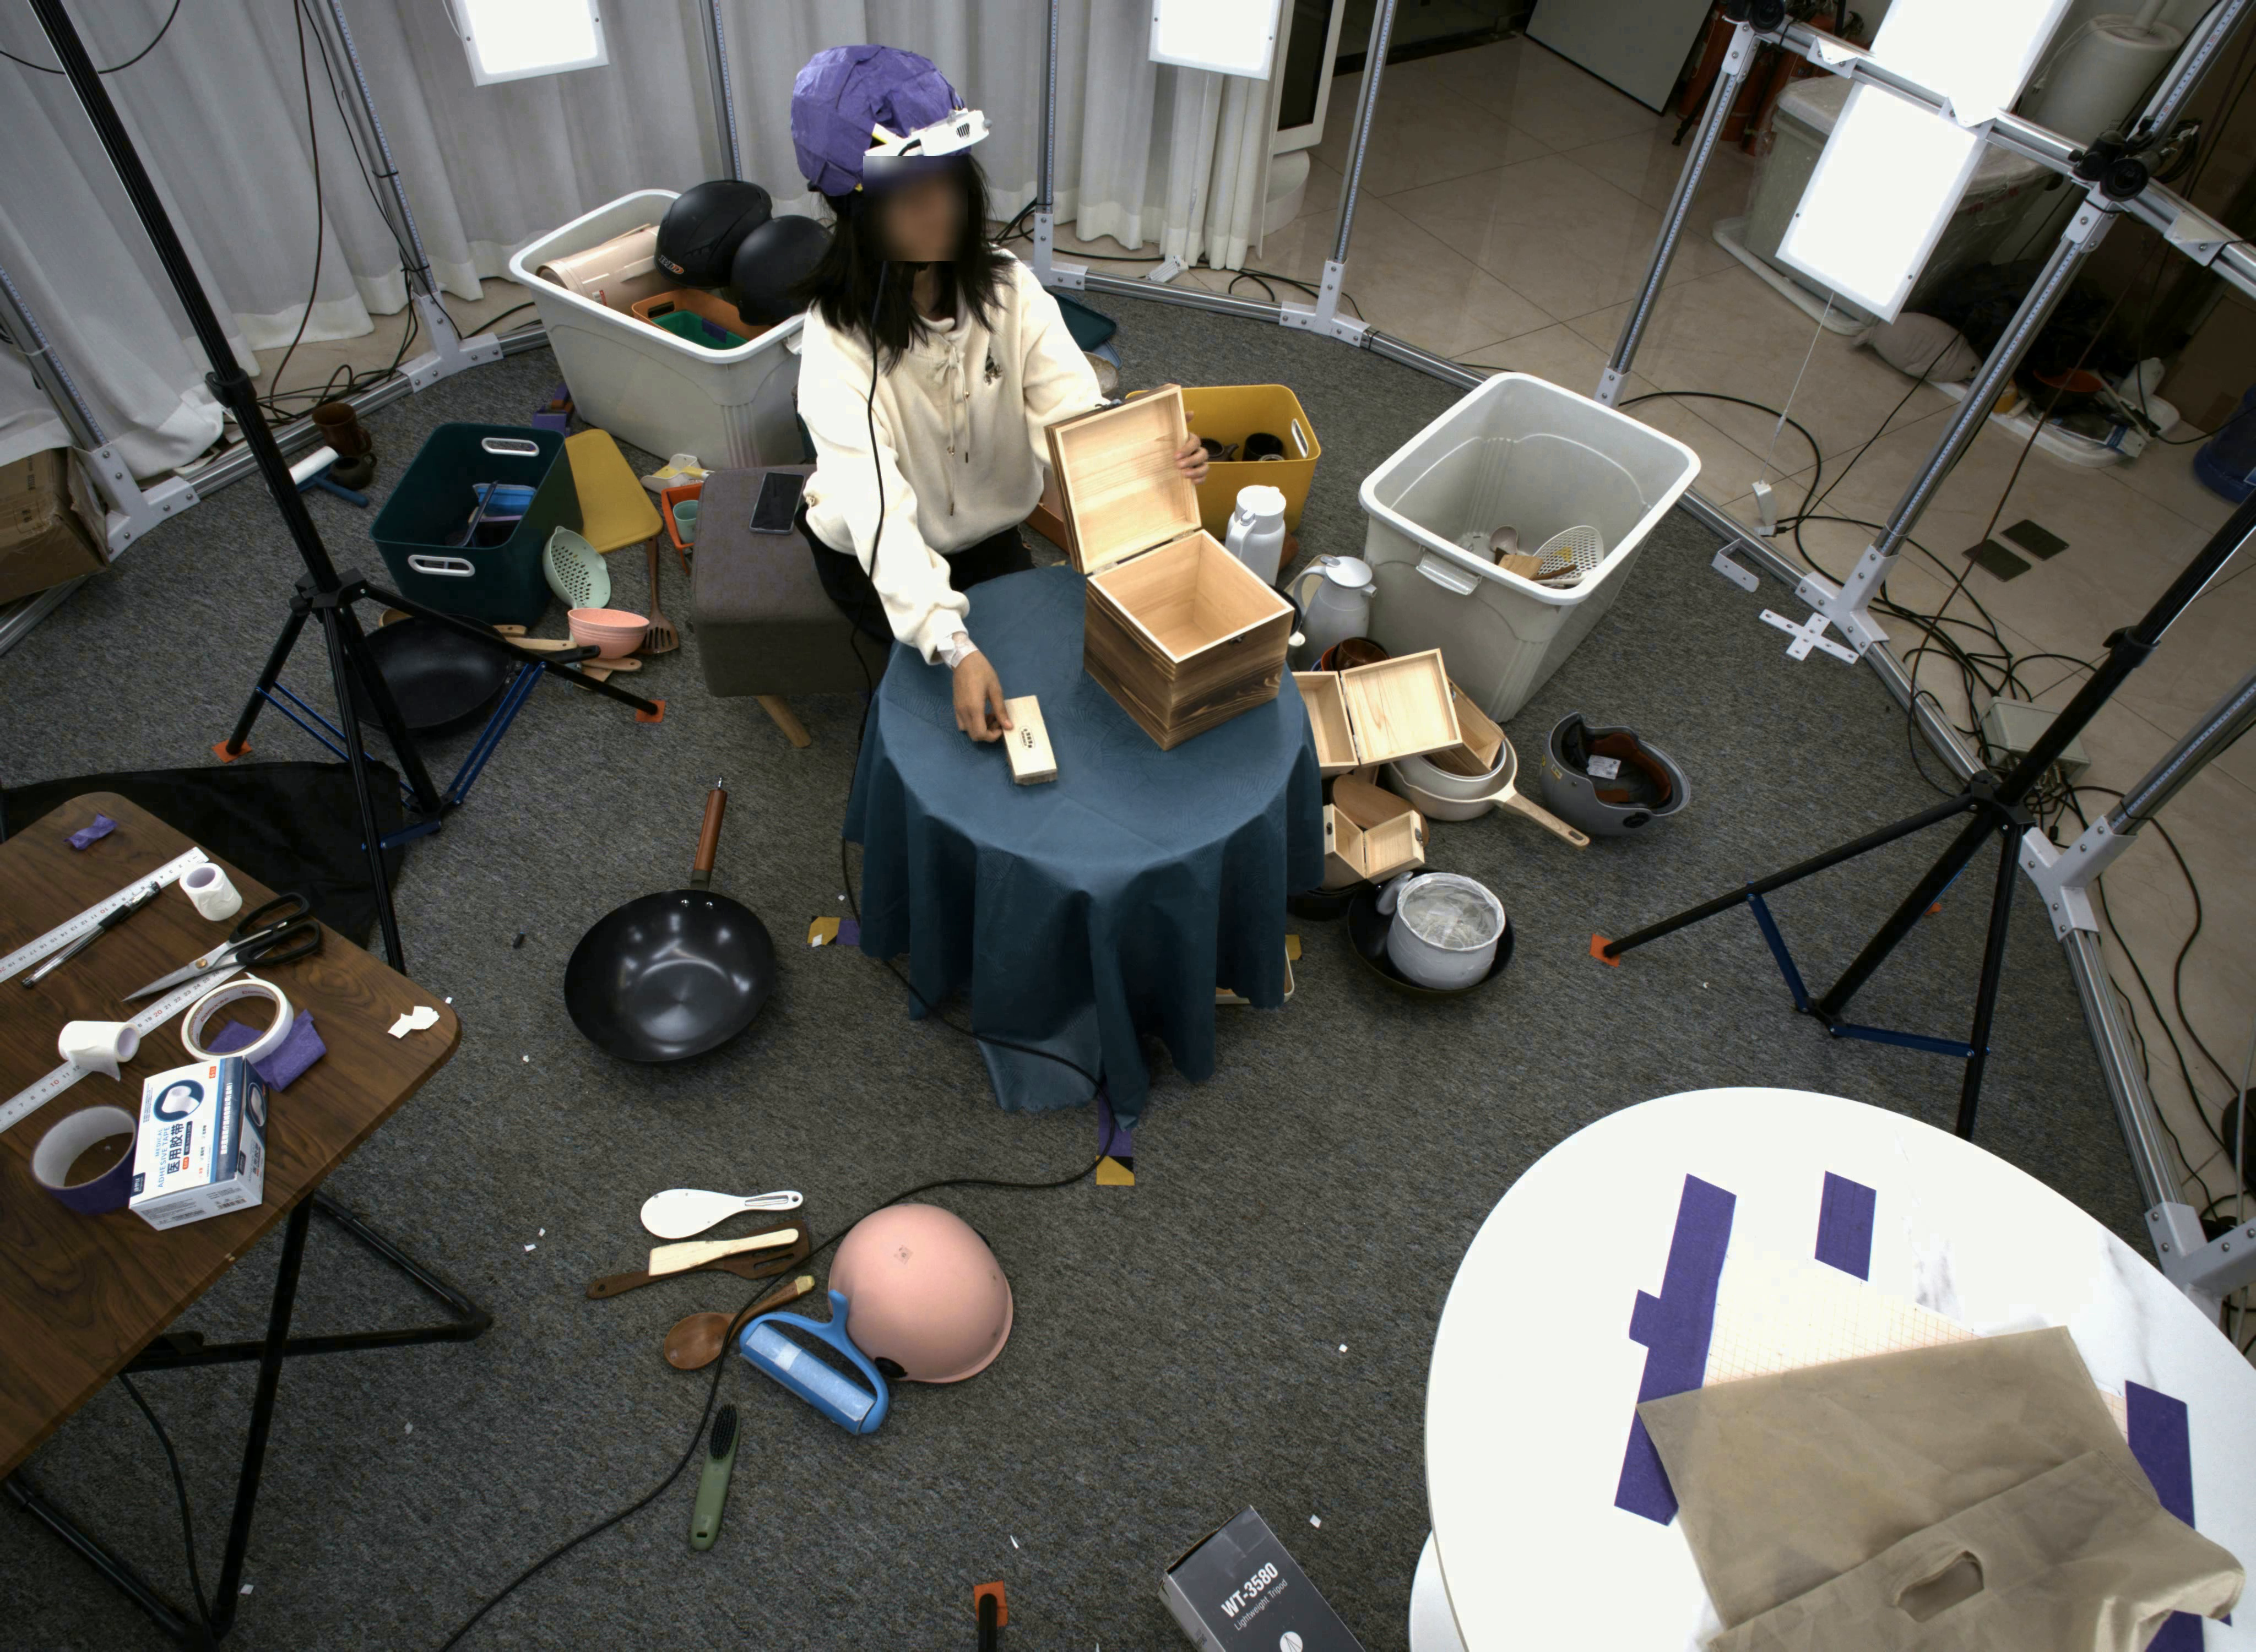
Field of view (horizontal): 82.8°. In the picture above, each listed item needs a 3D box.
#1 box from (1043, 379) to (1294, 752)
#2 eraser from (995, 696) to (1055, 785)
[{"bbox_3d":[0.052,-0.354,1.747,0.210,0.366,0.328,-28,57,-24],"label":"box"},{"bbox_3d":[-0.140,-0.116,1.743,0.057,0.028,0.143,-11,50,-9],"label":"eraser"}]
